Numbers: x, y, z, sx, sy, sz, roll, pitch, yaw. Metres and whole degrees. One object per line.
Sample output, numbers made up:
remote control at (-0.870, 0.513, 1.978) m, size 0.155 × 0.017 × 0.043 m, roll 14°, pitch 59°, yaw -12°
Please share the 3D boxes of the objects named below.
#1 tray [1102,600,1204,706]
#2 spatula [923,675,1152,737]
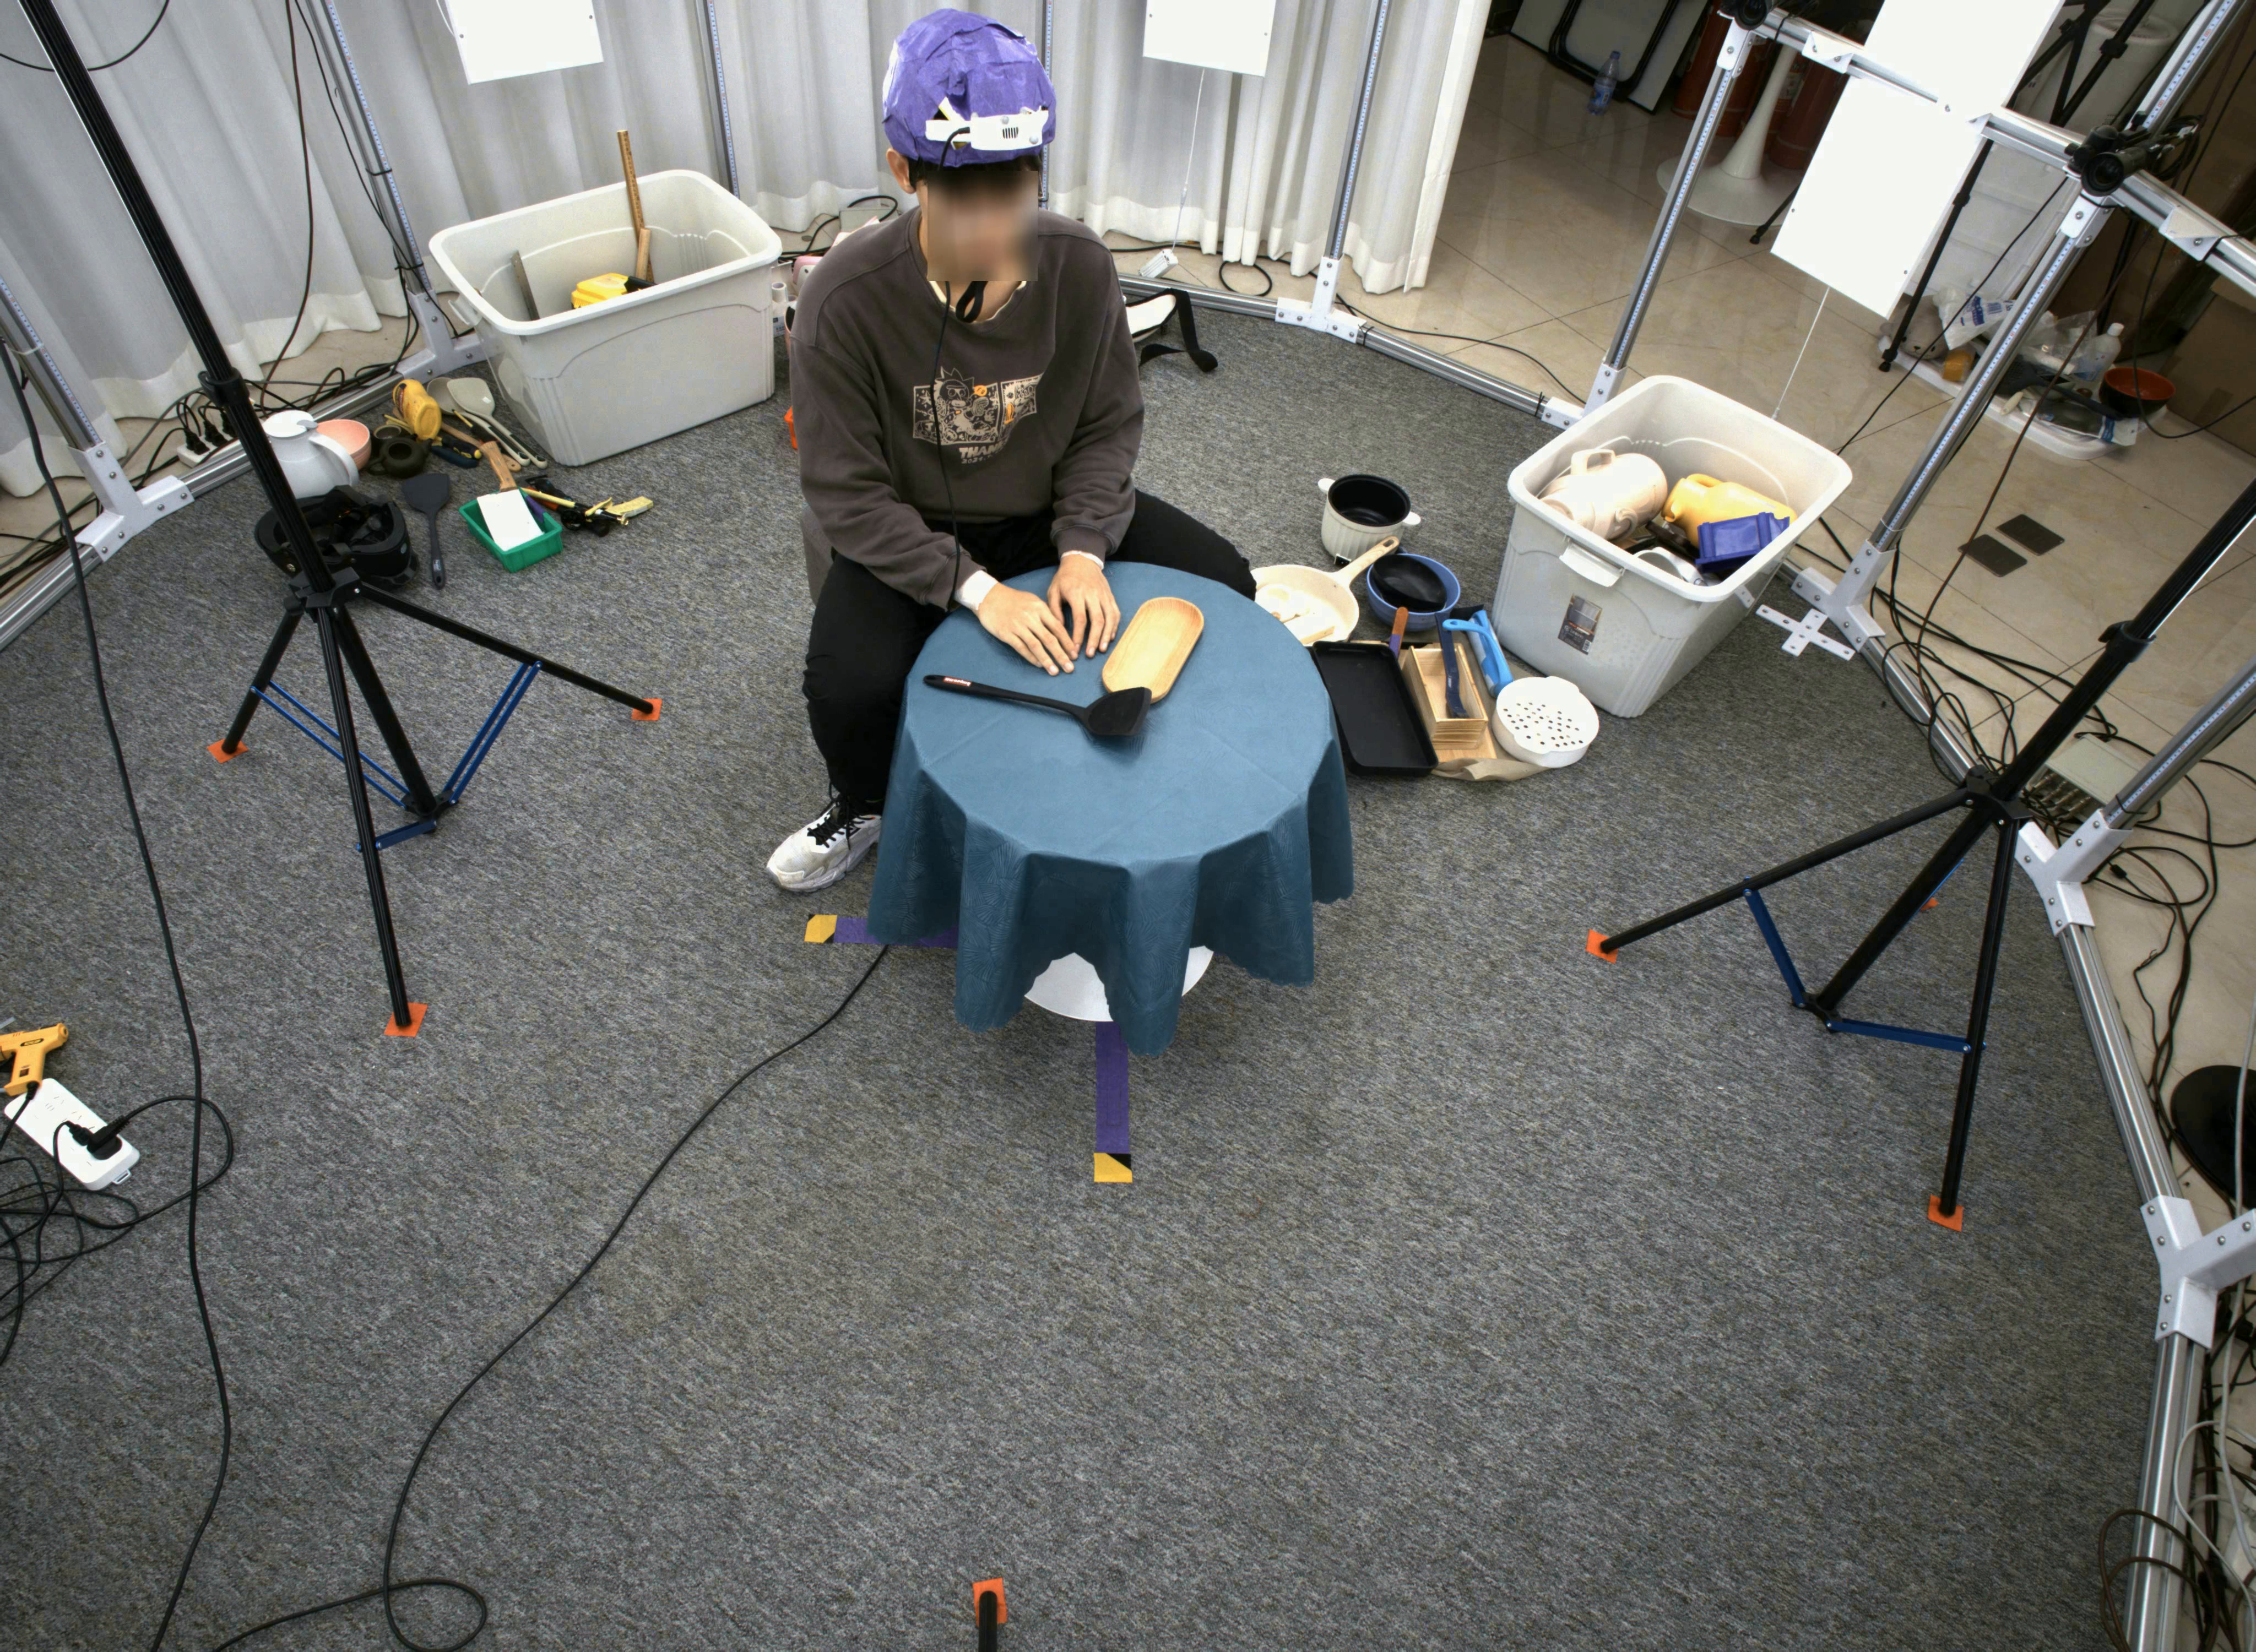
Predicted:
tray at (0.038, -0.255, 1.880) m, size 0.102 × 0.020 × 0.235 m, roll 18°, pitch 51°, yaw 13°
spatula at (-0.131, -0.181, 1.791) m, size 0.327 × 0.039 × 0.102 m, roll 13°, pitch 48°, yaw 8°
